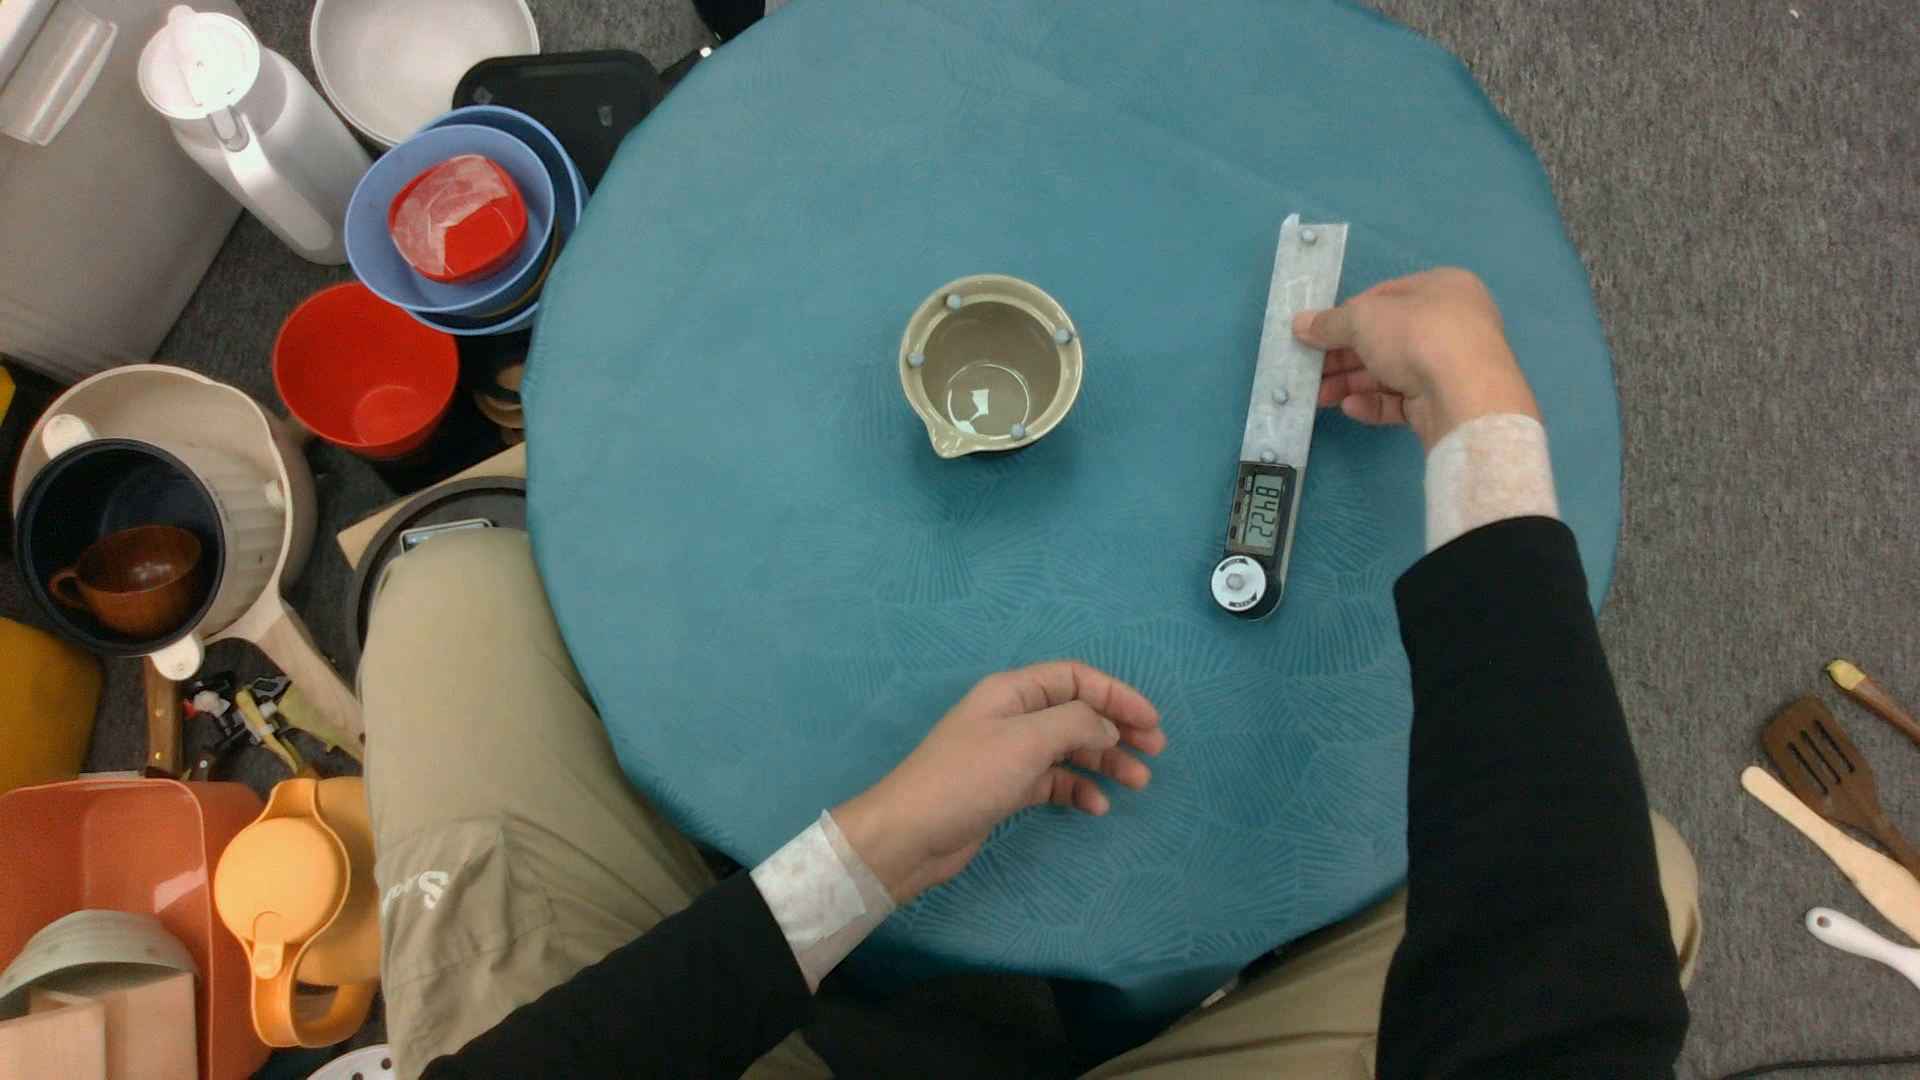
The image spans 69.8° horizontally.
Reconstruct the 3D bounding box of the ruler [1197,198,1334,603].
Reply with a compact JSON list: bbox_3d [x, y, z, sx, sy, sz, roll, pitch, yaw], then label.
[{"bbox_3d":[0.159,-0.075,0.722,0.038,0.024,0.218,10,88,19],"label":"ruler"}]

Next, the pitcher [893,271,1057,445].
[{"bbox_3d":[0.004,-0.084,0.718,0.083,0.071,0.096,26,77,4],"label":"pitcher"}]
